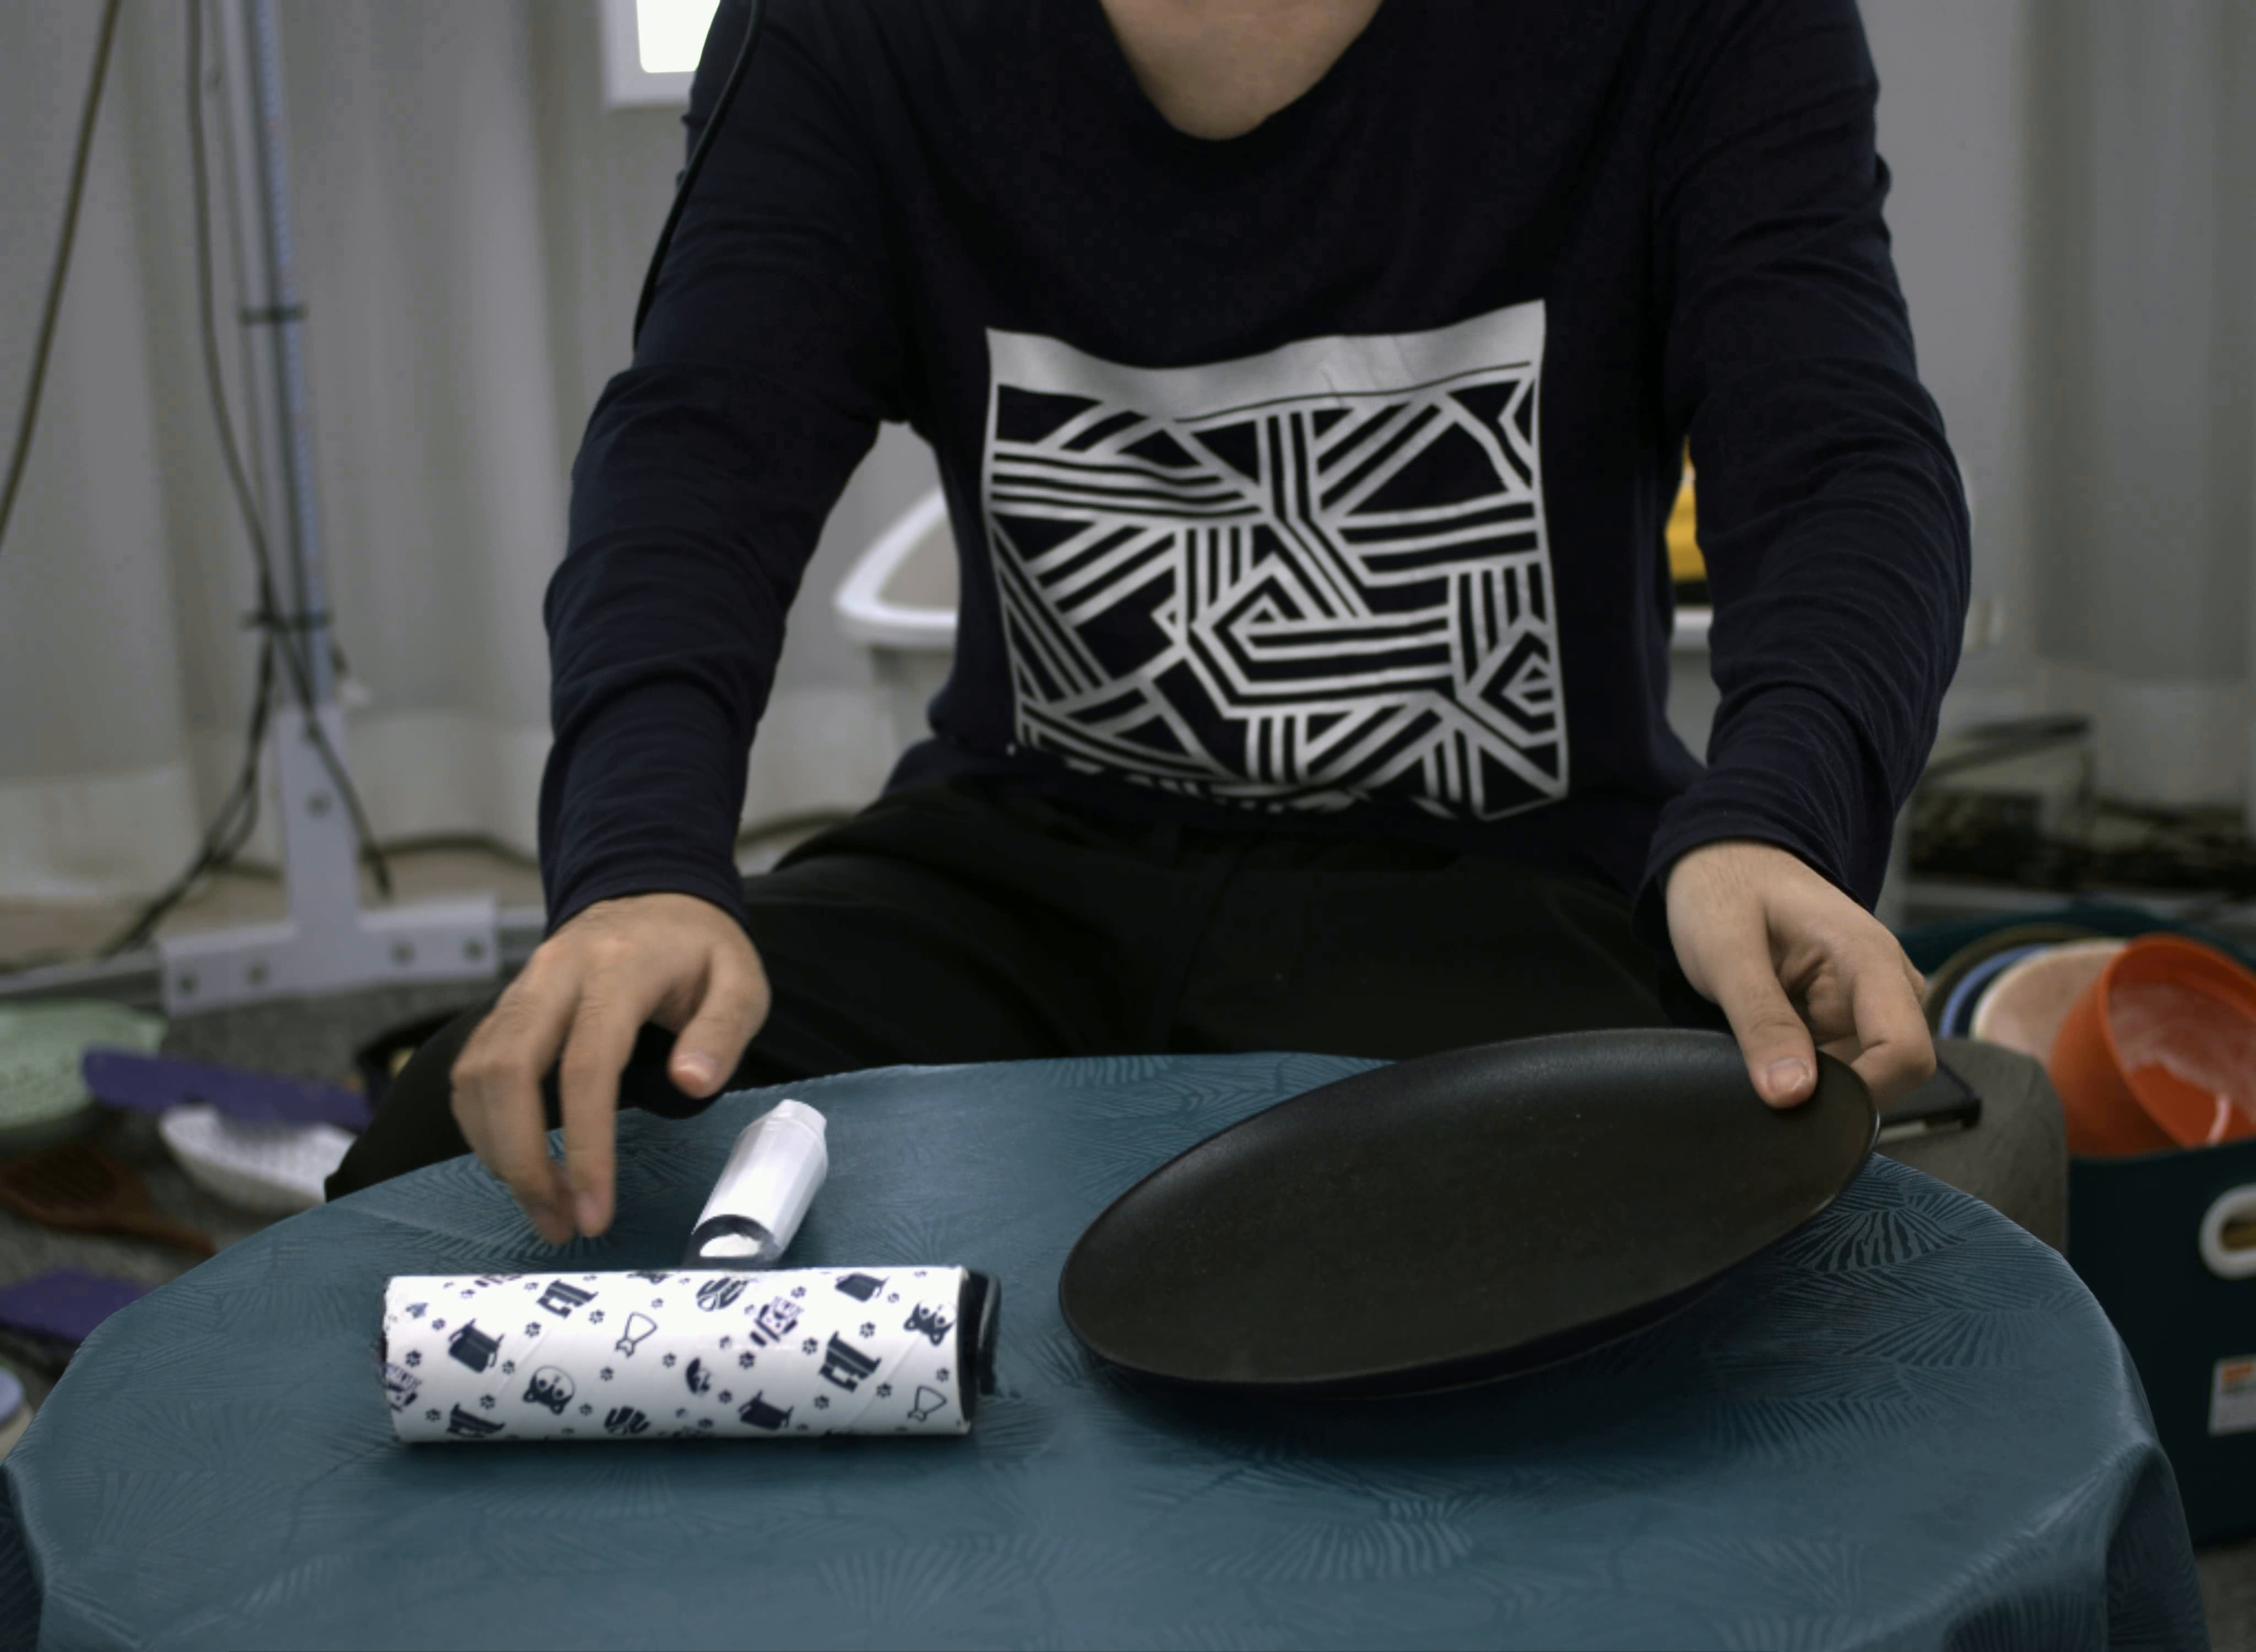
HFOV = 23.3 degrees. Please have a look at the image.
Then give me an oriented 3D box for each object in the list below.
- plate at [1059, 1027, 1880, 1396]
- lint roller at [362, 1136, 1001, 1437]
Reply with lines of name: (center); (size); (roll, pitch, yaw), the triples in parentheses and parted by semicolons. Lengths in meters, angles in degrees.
plate: (0.100, 0.116, 1.585); (0.243, 0.023, 0.246); (-14, 16, 4)
lint roller: (-0.118, 0.125, 1.624); (0.176, 0.050, 0.248); (-3, 12, 4)
